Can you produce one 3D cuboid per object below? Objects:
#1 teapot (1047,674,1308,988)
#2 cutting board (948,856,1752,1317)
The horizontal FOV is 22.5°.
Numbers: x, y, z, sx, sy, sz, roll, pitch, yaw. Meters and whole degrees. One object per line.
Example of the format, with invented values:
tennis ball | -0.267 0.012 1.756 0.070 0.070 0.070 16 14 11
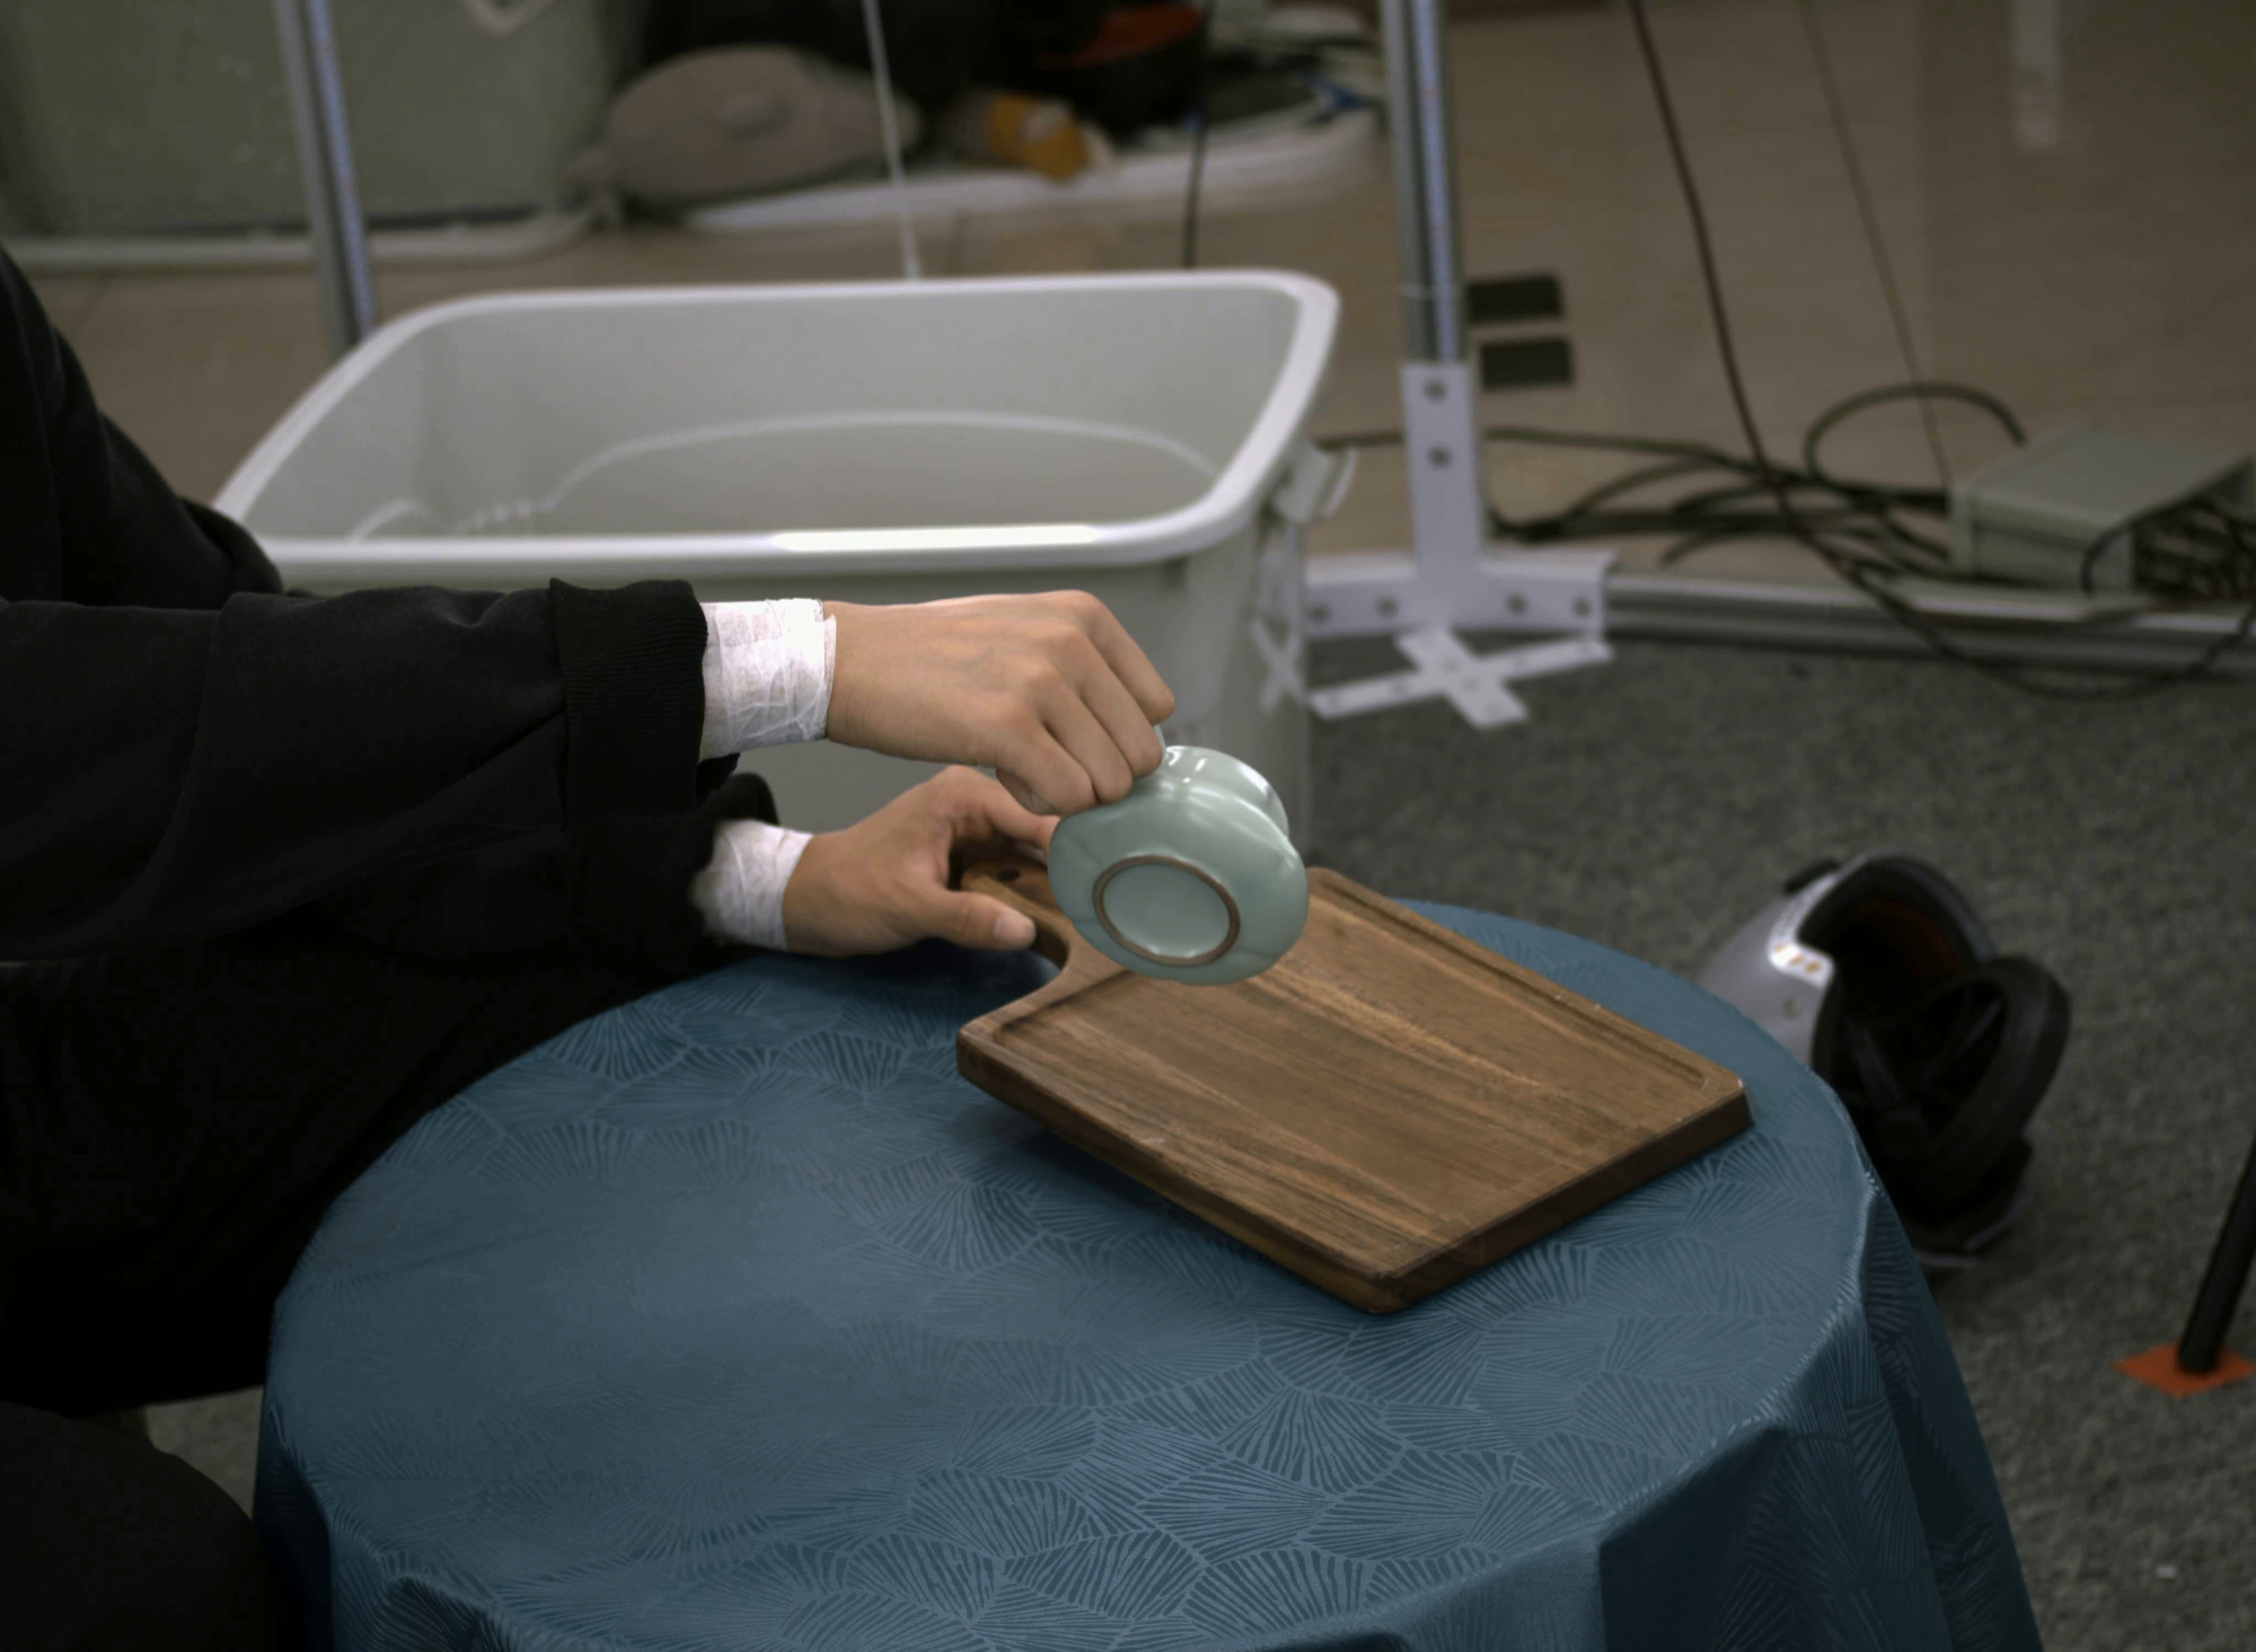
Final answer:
teapot | 0.019 0.008 2.047 0.096 0.139 0.060 -10 37 29
cutting board | 0.051 0.080 2.204 0.199 0.023 0.348 -25 36 -34
